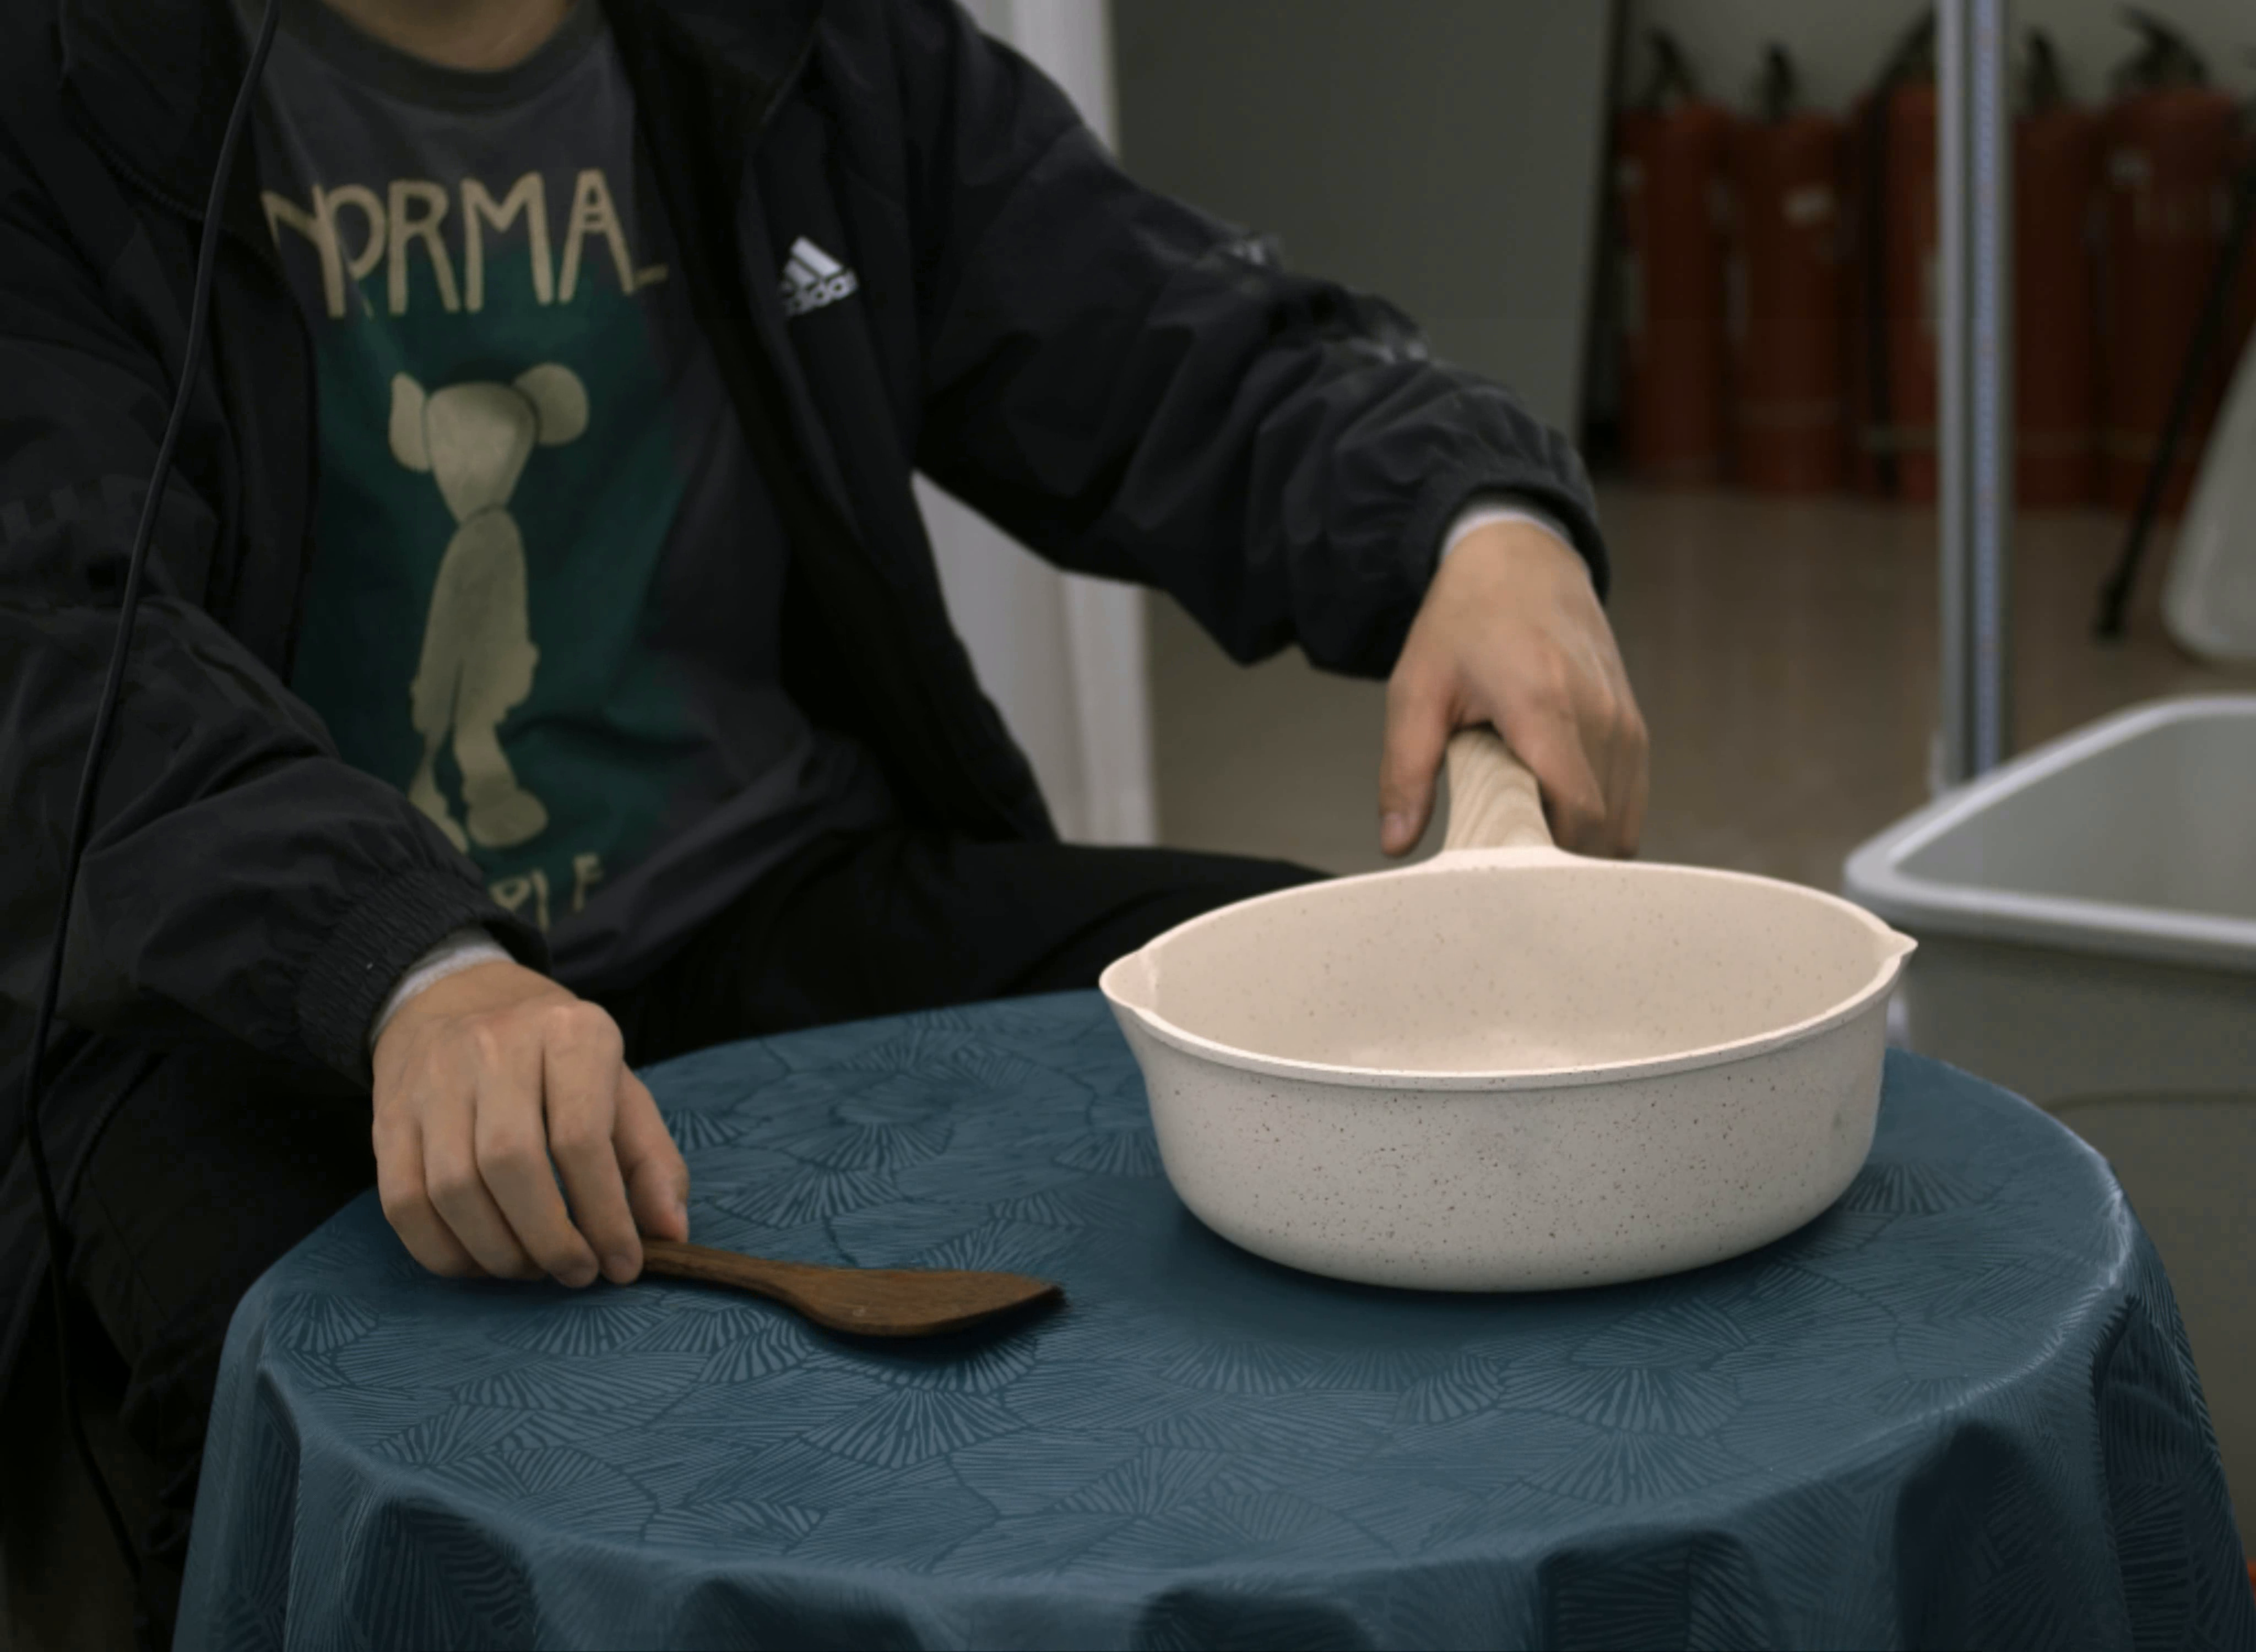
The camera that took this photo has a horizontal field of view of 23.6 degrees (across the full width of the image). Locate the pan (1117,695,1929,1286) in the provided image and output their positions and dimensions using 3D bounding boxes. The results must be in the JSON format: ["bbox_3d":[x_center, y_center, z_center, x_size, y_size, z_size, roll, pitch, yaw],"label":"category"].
[{"bbox_3d":[0.132,0.051,1.813,0.260,0.103,0.435,-5,13,3],"label":"pan"}]

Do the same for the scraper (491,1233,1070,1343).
[{"bbox_3d":[-0.116,0.143,1.699,0.212,0.011,0.074,4,11,37],"label":"scraper"}]
